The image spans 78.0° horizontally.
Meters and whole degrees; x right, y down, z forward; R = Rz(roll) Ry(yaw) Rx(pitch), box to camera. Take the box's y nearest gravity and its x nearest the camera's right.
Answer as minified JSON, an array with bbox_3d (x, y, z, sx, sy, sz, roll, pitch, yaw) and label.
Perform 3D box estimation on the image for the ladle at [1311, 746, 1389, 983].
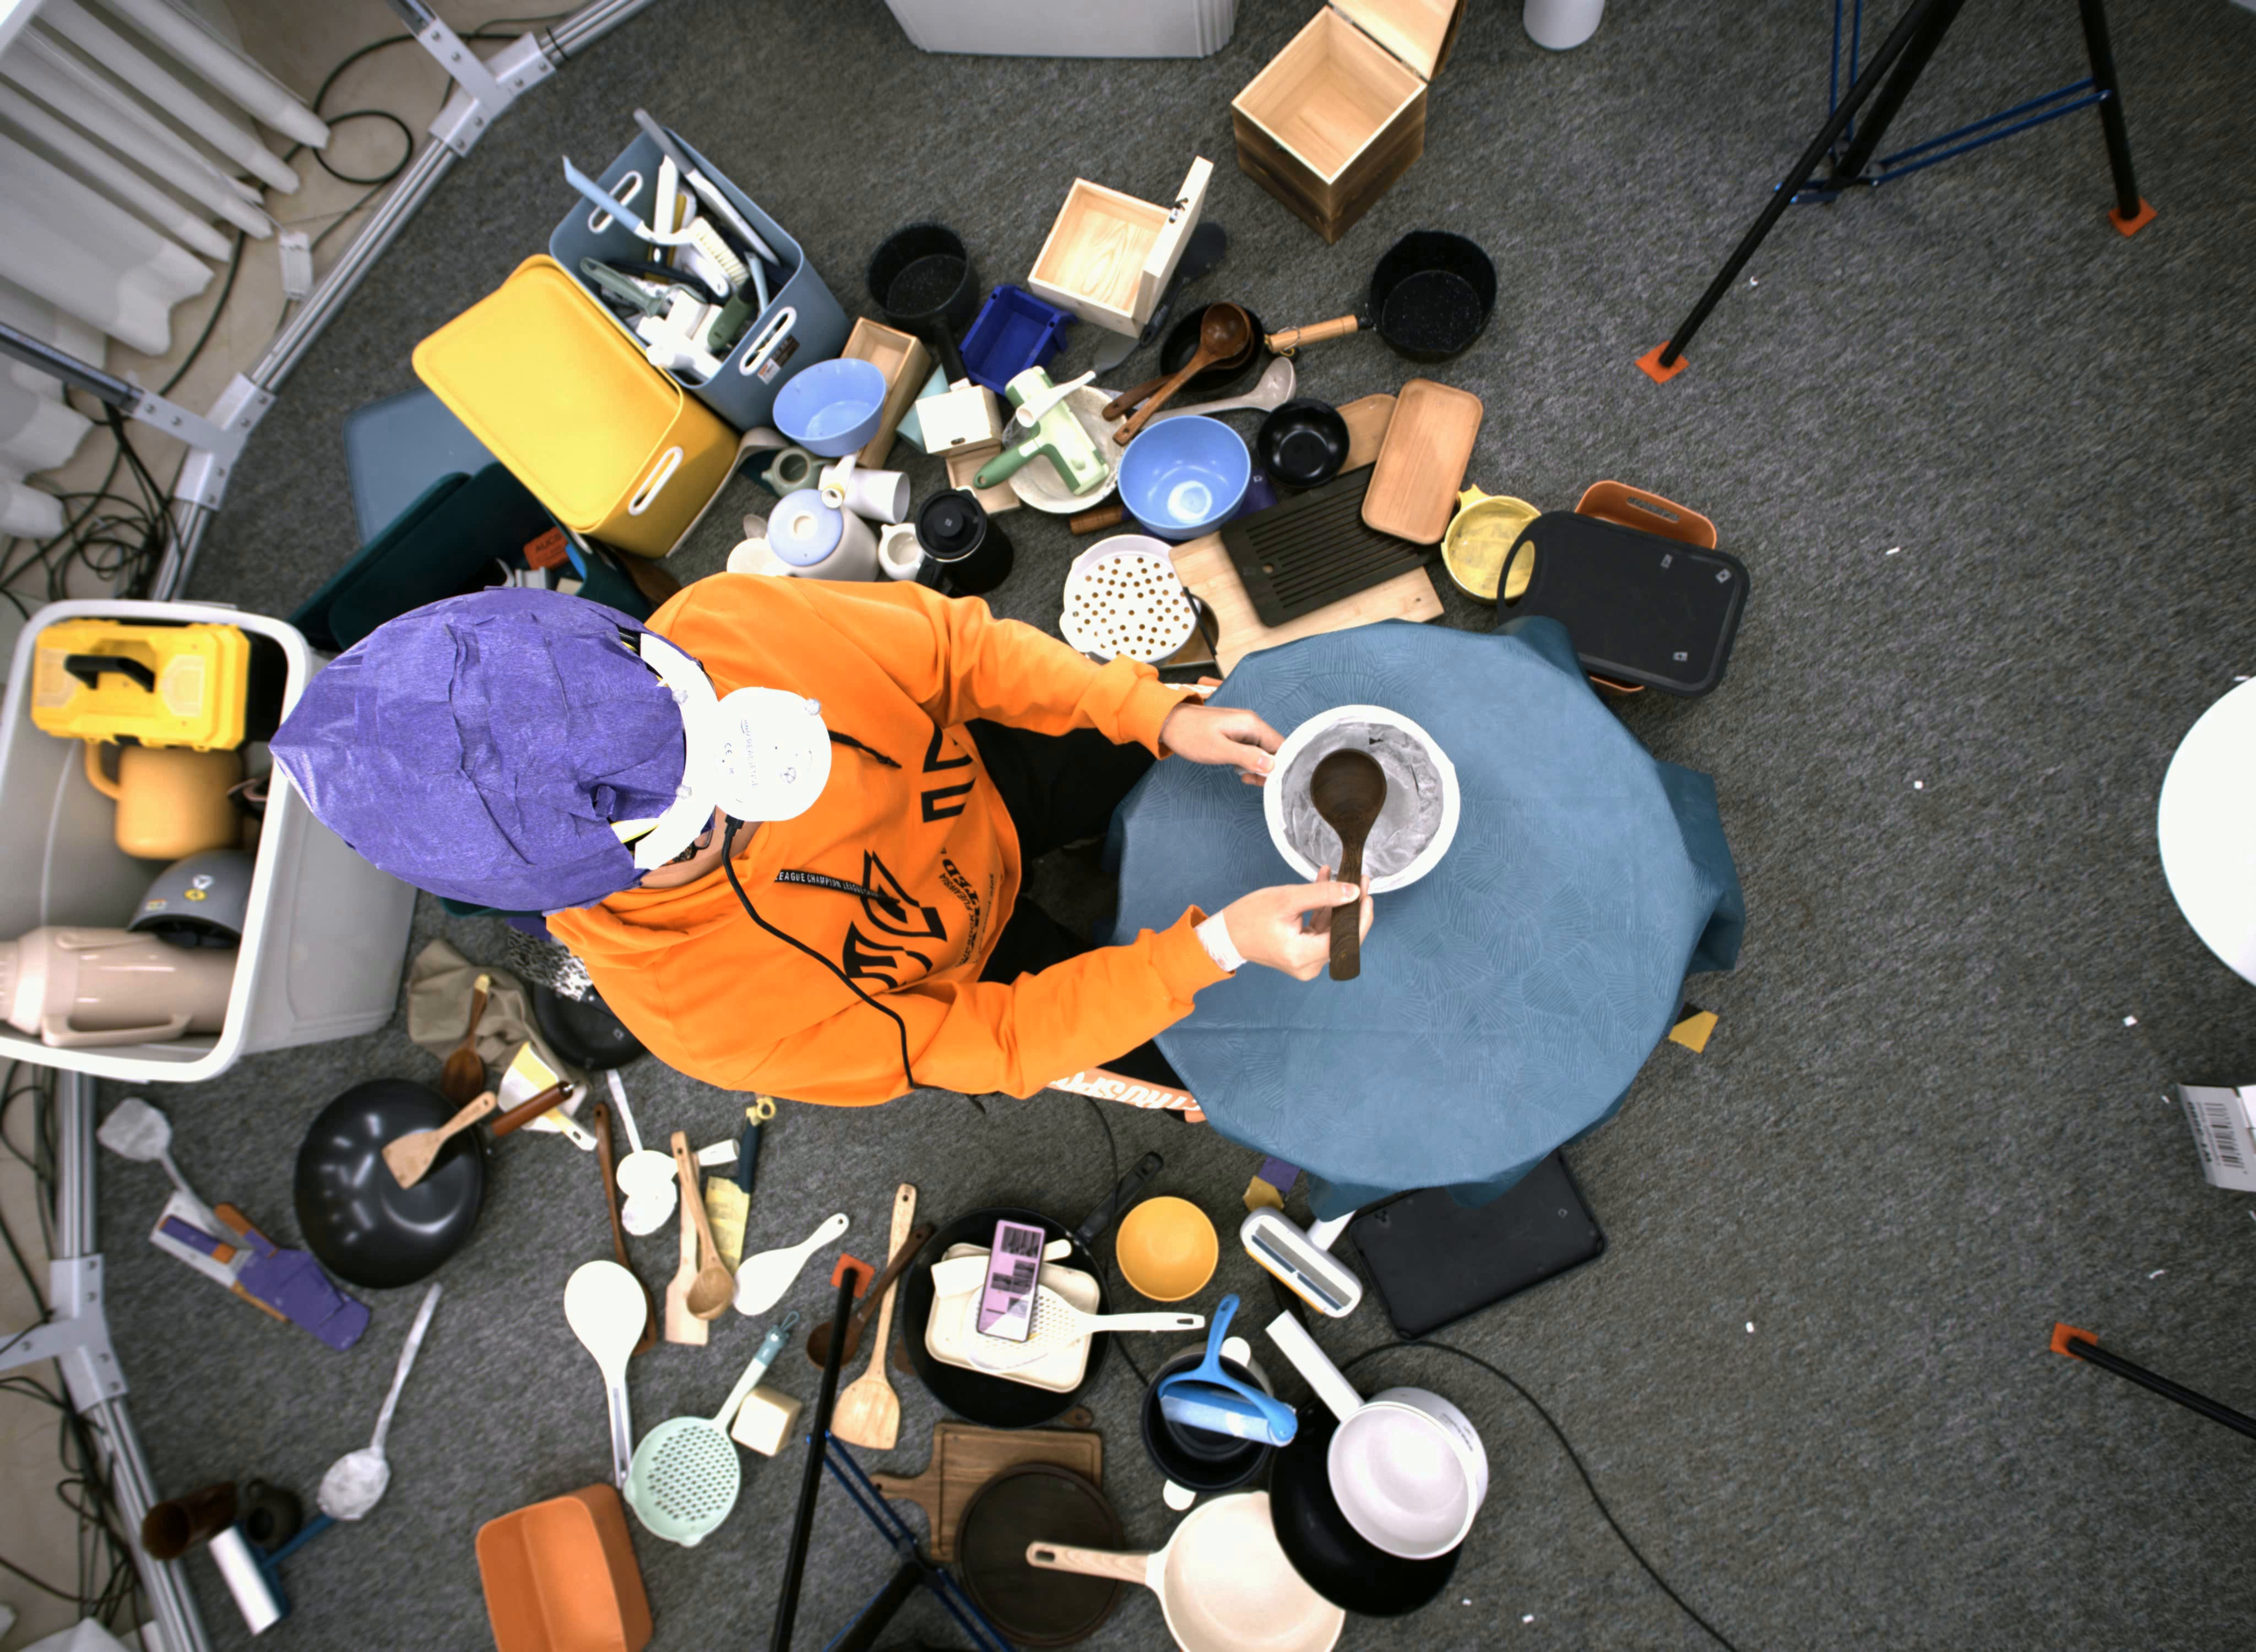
[{"bbox_3d":[0.192,0.024,1.230,0.077,0.267,0.072,-16,120,24],"label":"ladle"}]

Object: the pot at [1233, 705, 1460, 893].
[{"bbox_3d":[0.207,-0.033,1.350,0.233,0.136,0.179,20,95,16],"label":"pot"}]
